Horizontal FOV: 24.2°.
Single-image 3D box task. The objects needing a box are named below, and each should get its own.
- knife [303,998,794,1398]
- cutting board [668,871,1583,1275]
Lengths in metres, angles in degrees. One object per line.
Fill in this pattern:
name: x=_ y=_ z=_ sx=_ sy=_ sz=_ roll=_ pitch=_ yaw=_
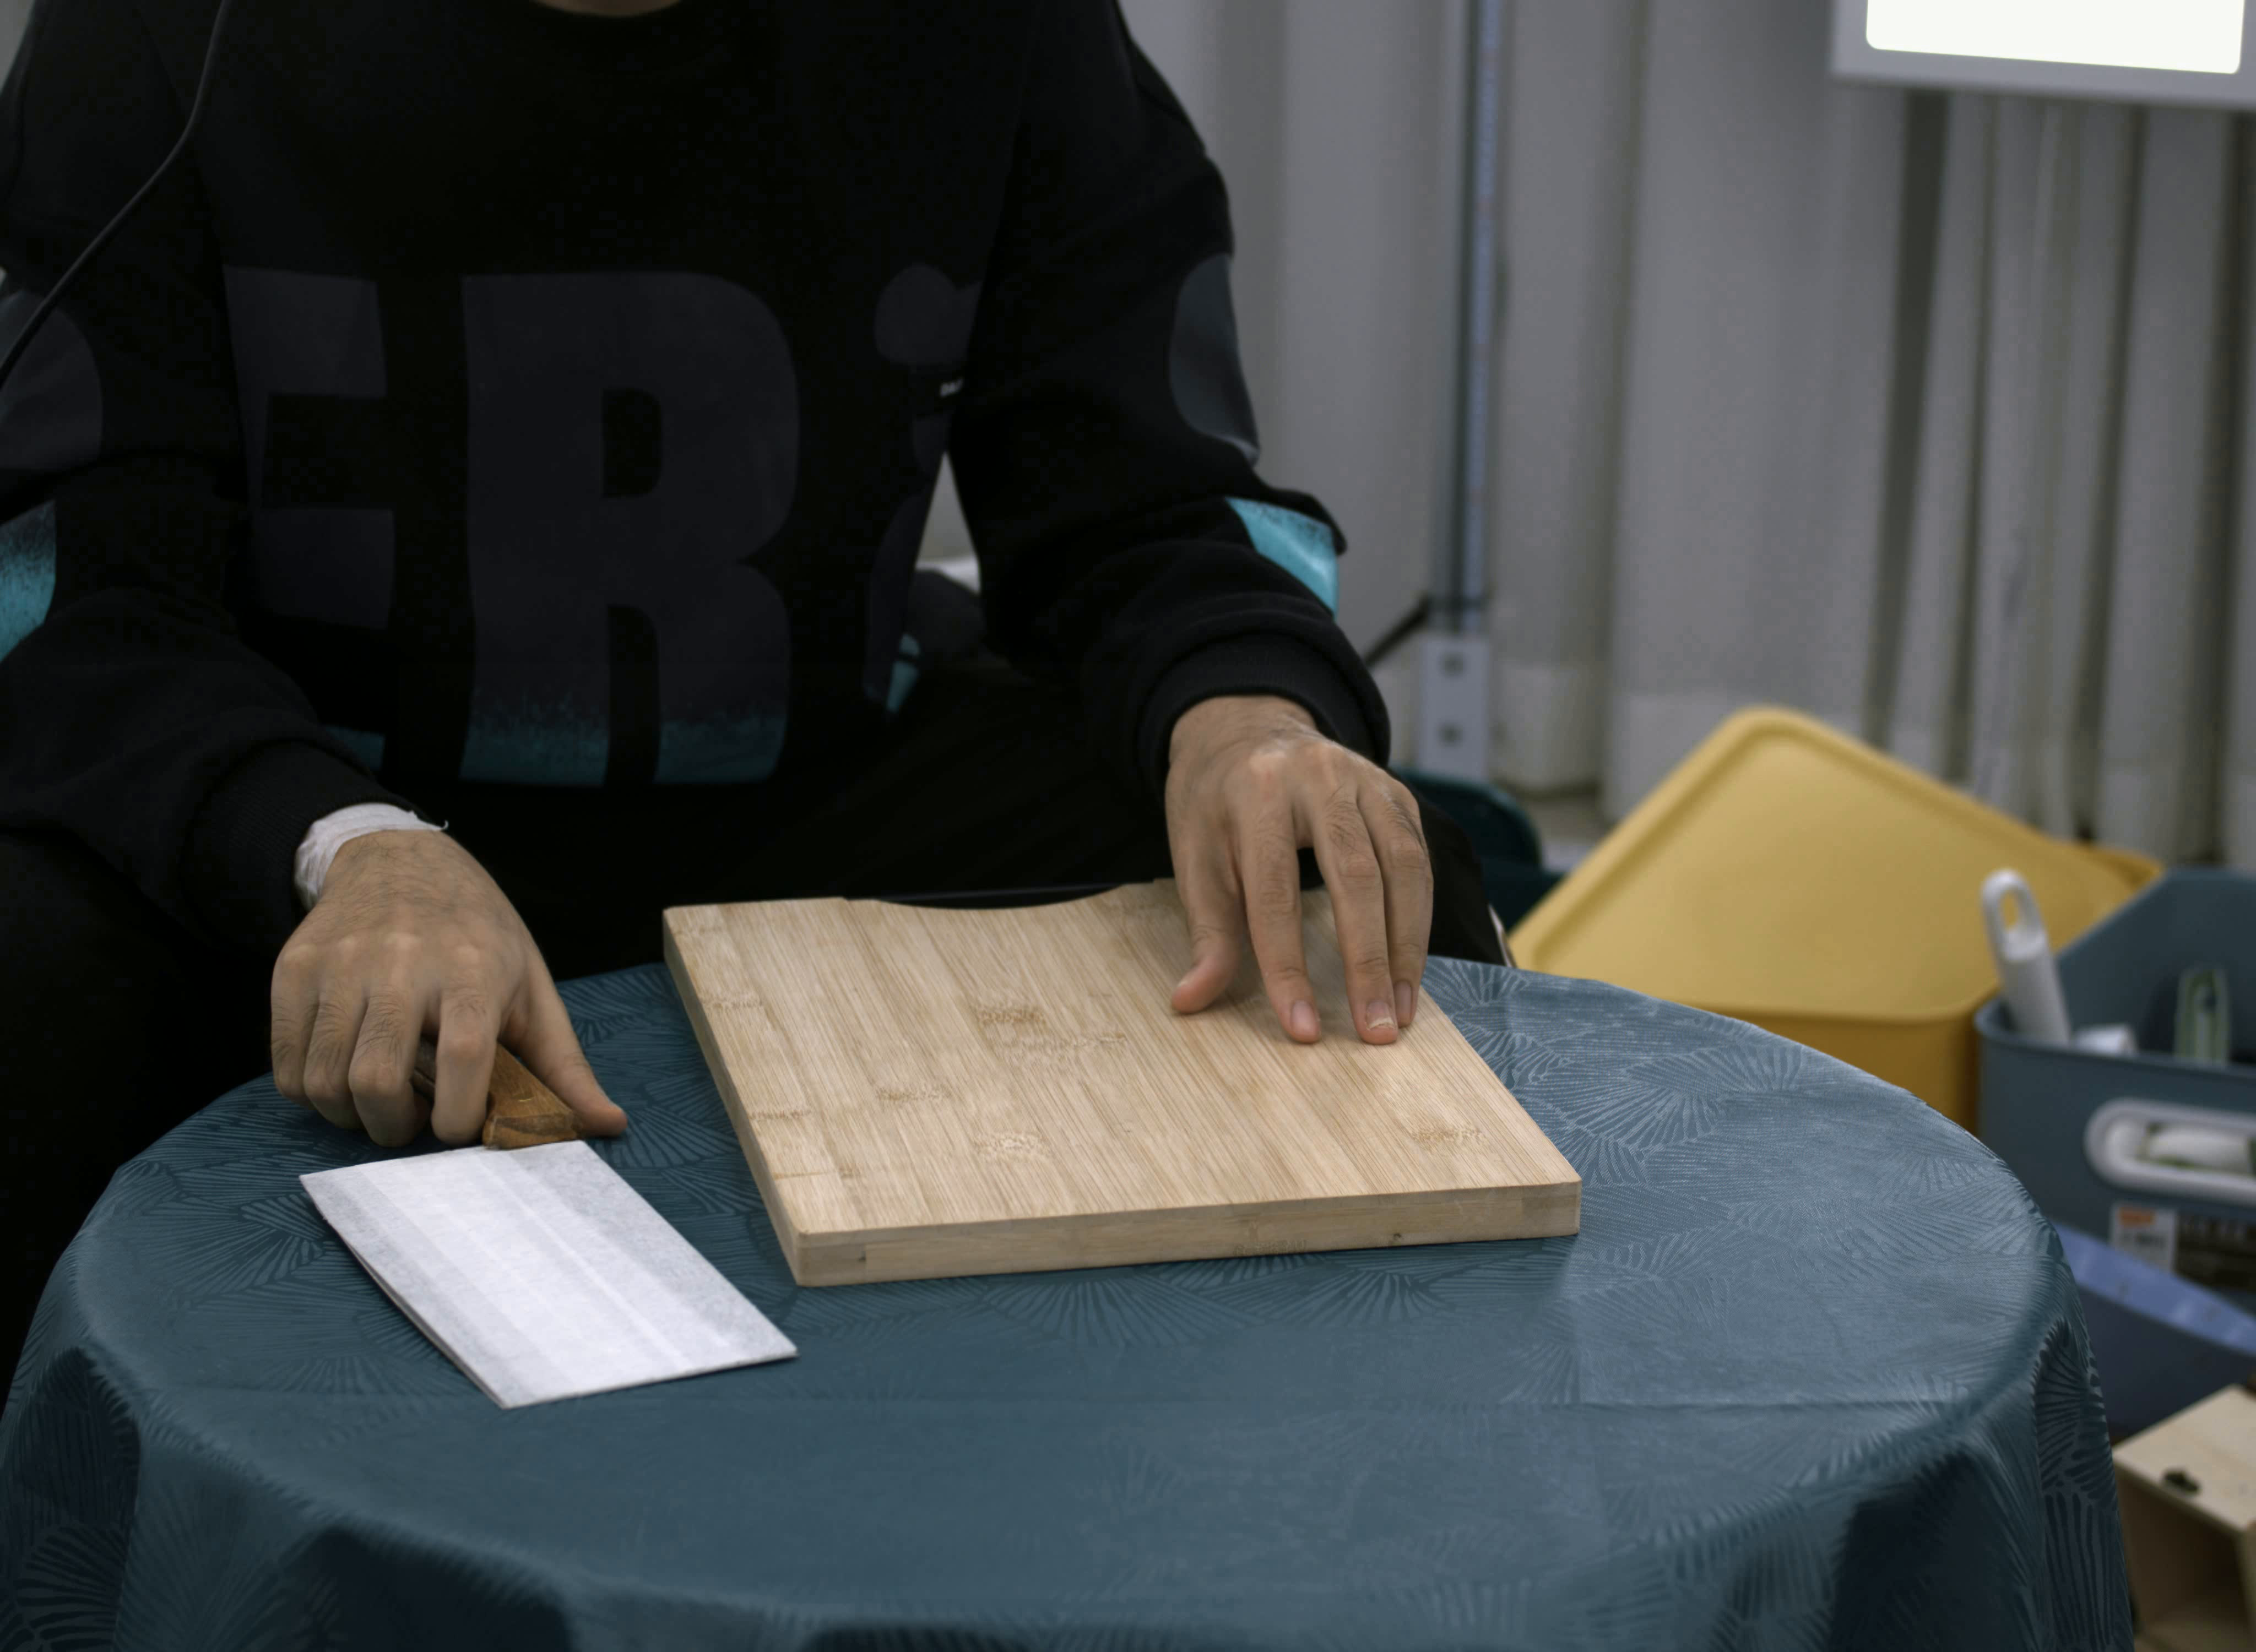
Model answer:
knife: x=-0.196 y=0.111 z=1.592 sx=0.093 sy=0.021 sz=0.302 roll=-9 pitch=20 yaw=-24
cutting board: x=-0.012 y=0.076 z=1.724 sx=0.251 sy=0.024 sz=0.345 roll=-3 pitch=16 yaw=-12
